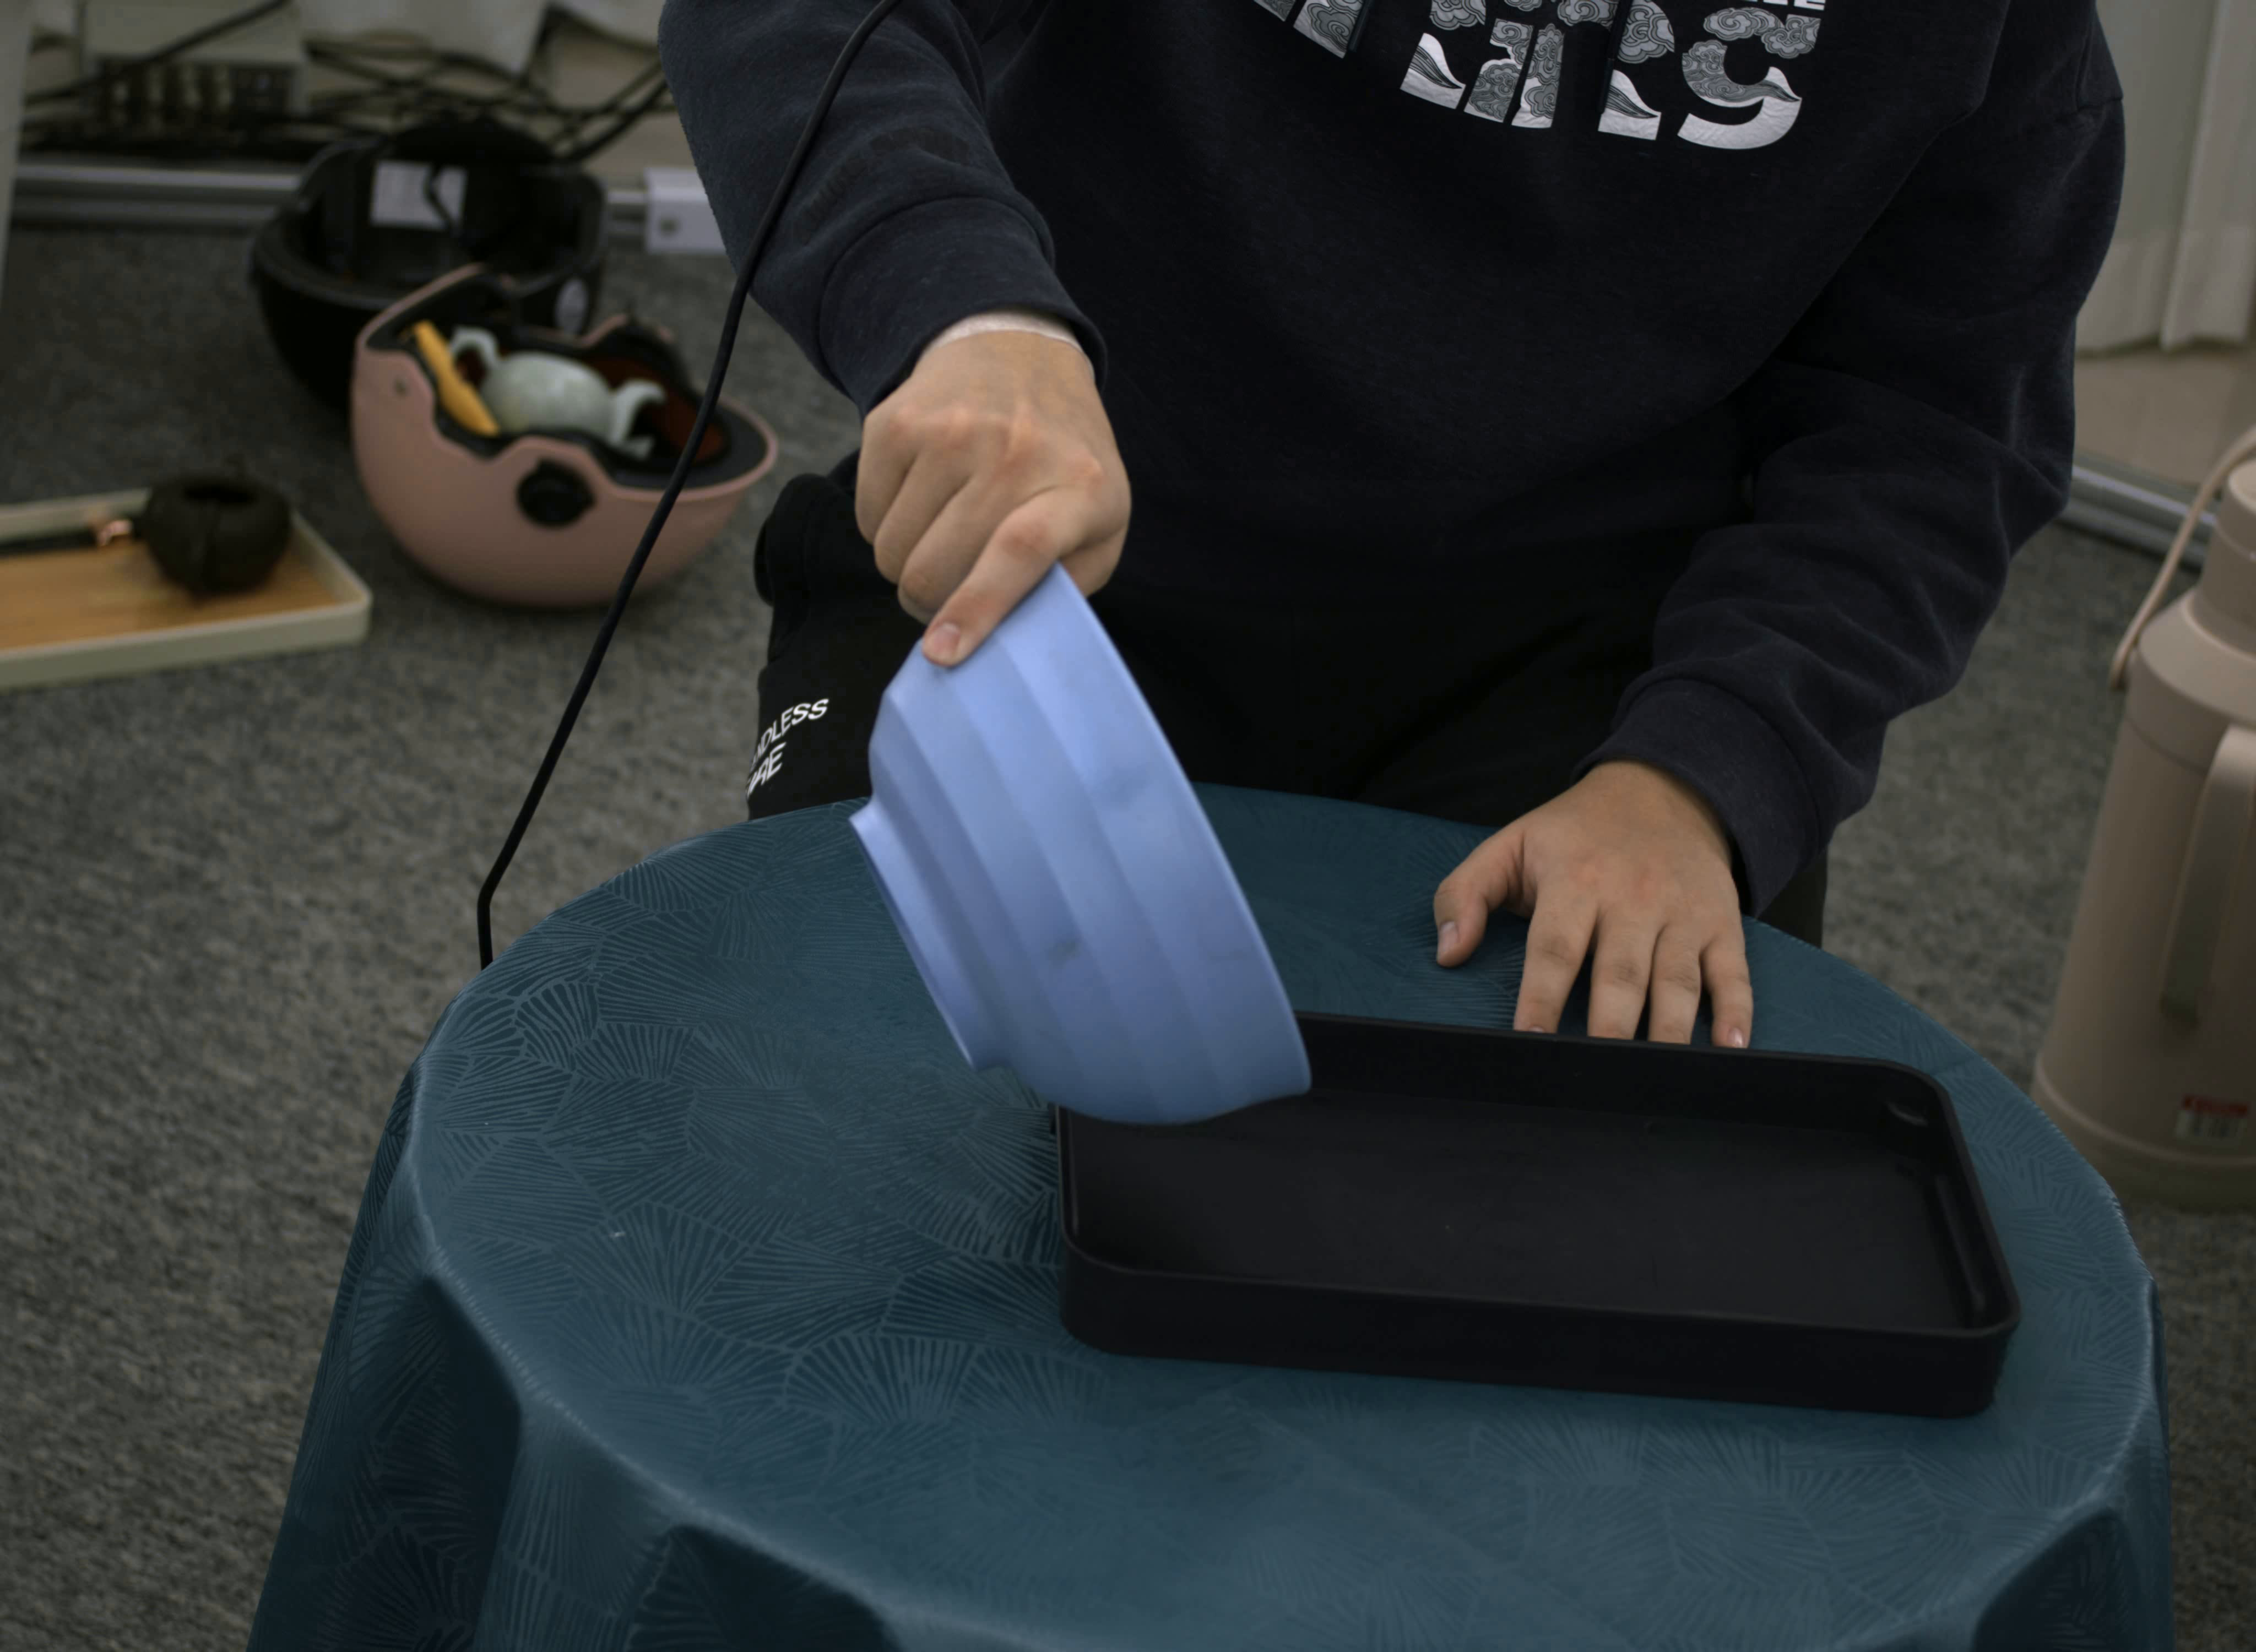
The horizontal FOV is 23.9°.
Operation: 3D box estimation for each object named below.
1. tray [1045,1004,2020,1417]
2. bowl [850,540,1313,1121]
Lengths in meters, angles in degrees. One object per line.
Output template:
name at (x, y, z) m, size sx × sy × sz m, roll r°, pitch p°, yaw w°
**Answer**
tray at (0.129, 0.125, 1.792) m, size 0.317 × 0.037 × 0.185 m, roll 5°, pitch 27°, yaw -4°
bowl at (-0.027, 0.016, 1.702) m, size 0.095 × 0.195 × 0.198 m, roll -27°, pitch 32°, yaw -2°
